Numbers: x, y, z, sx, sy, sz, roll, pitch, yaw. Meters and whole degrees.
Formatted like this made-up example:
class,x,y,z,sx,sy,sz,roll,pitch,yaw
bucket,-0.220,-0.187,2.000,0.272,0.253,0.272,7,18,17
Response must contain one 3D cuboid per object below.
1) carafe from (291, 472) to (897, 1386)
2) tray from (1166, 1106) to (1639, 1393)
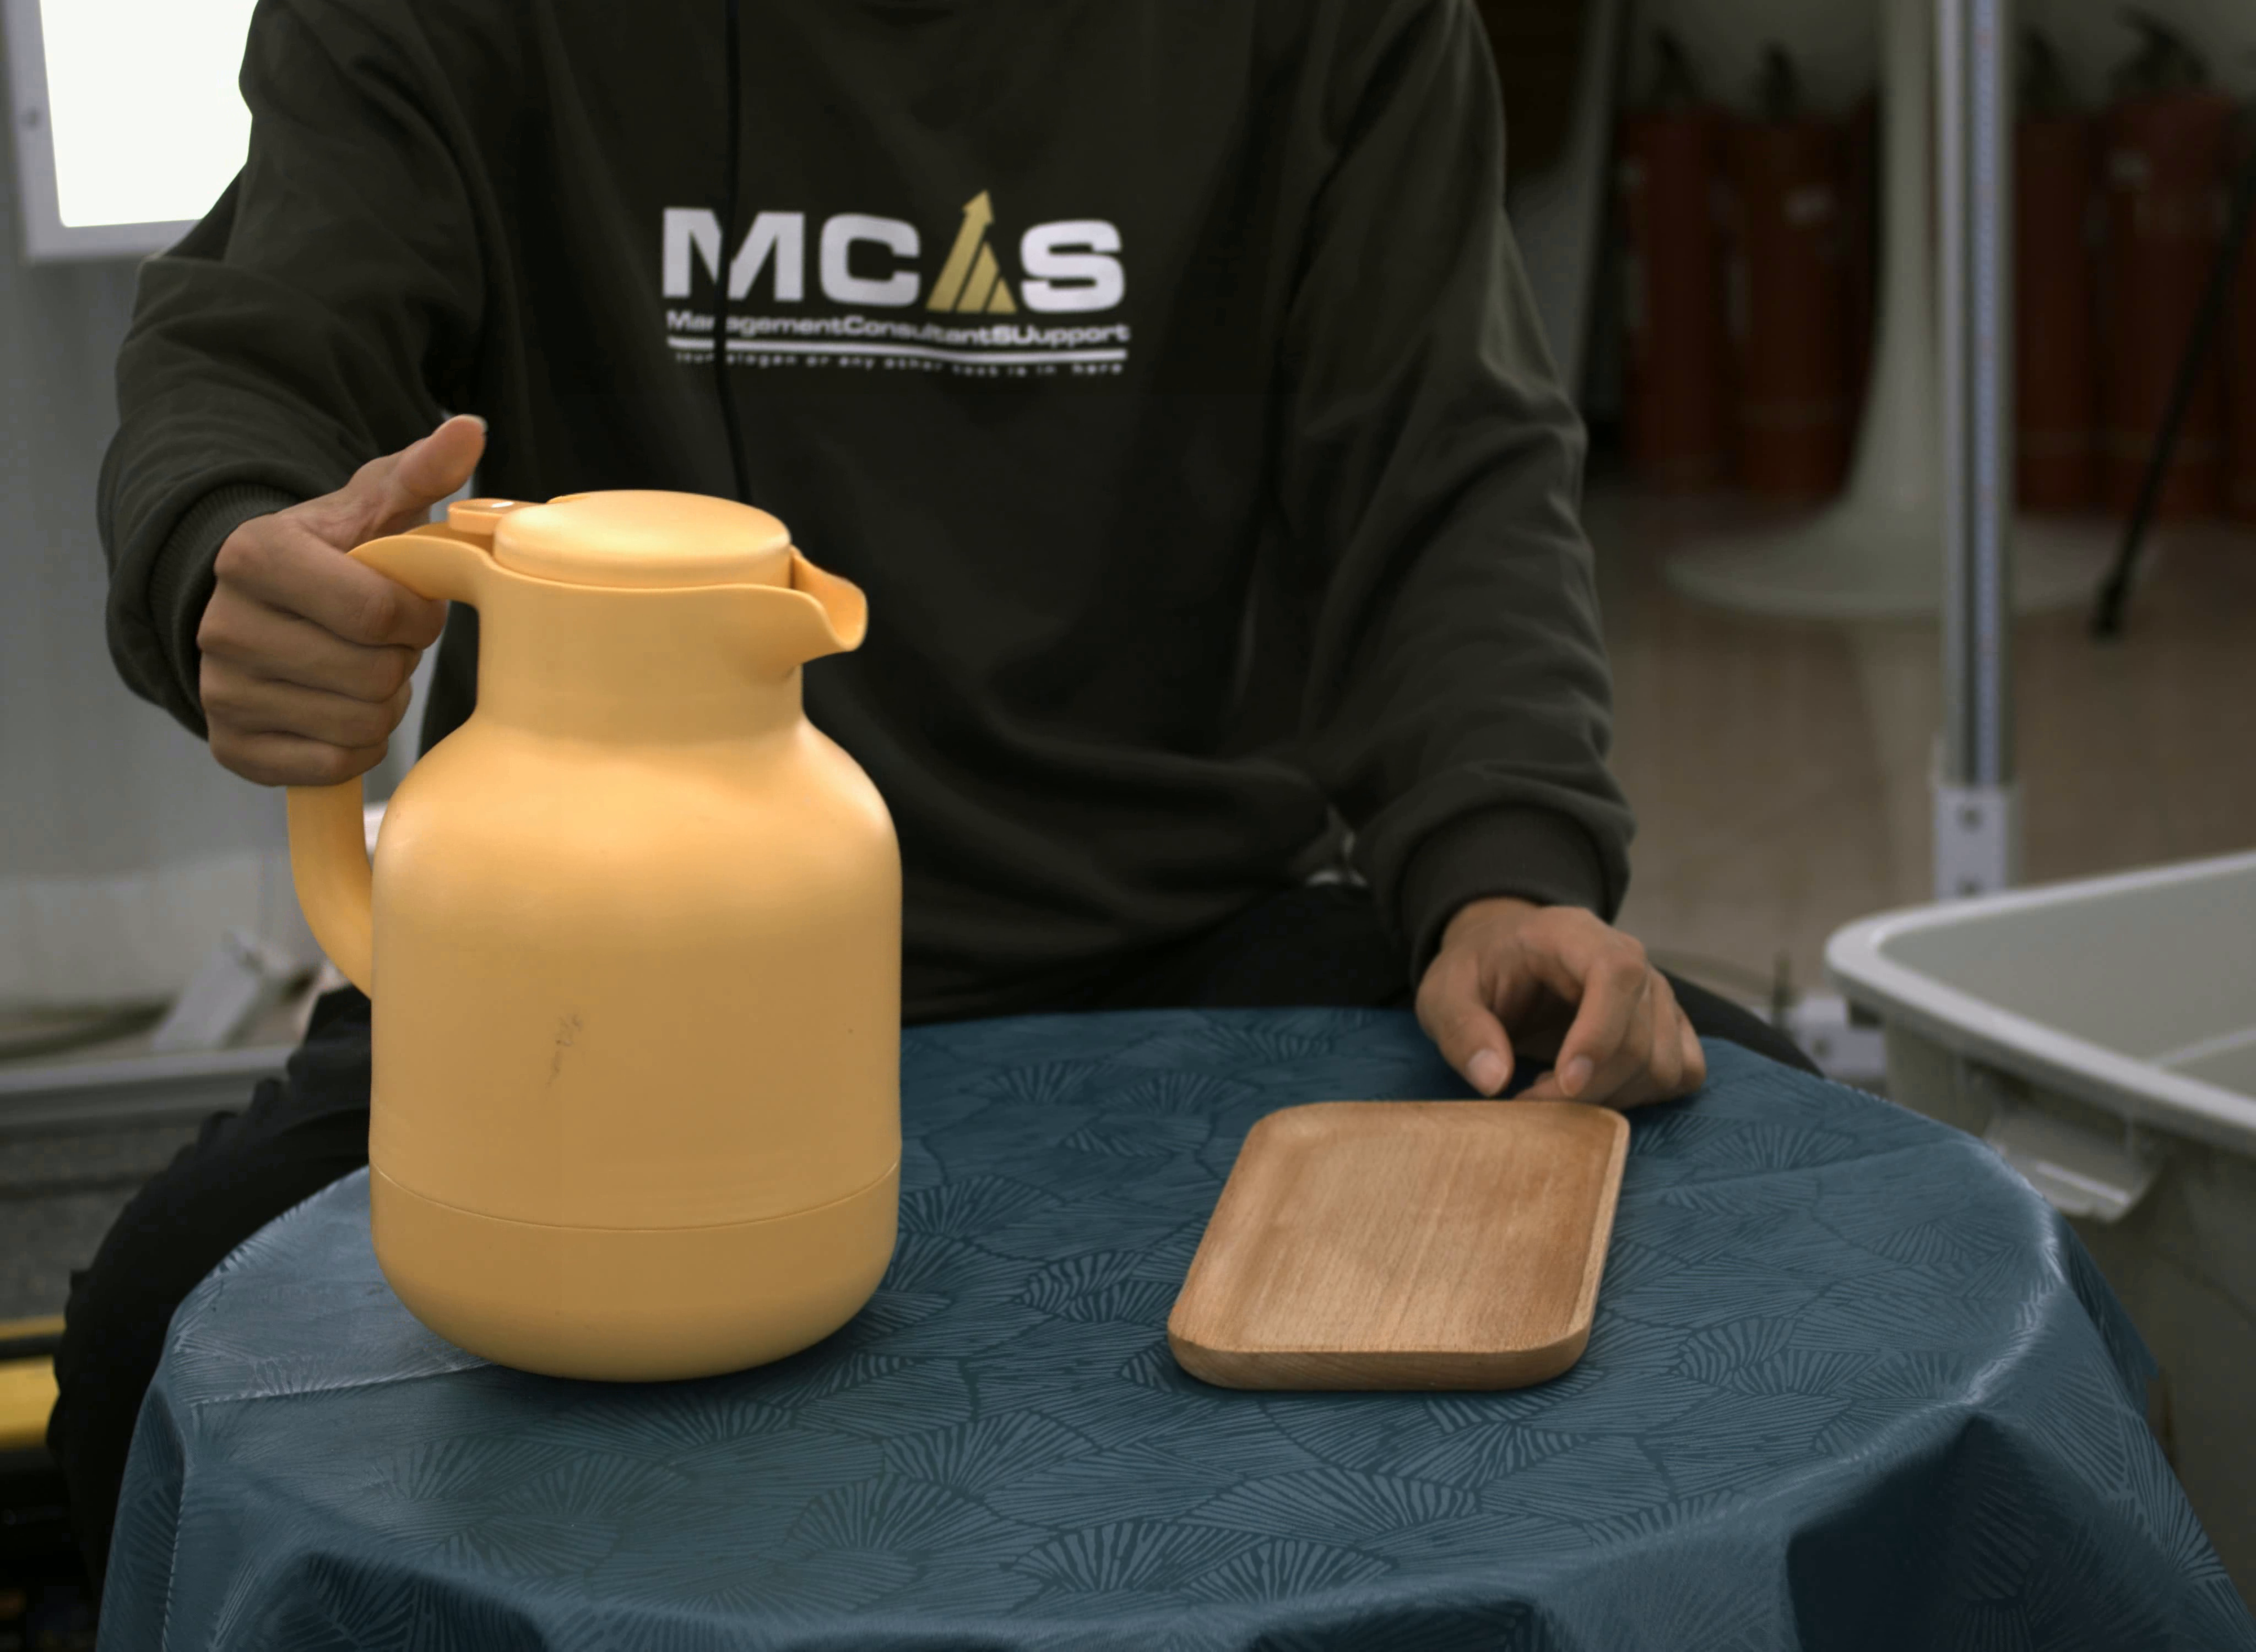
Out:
class,x,y,z,sx,sy,sz,roll,pitch,yaw
carafe,-0.165,0.024,1.642,0.203,0.263,0.161,10,14,29
tray,0.090,0.130,1.683,0.129,0.023,0.249,1,13,10
